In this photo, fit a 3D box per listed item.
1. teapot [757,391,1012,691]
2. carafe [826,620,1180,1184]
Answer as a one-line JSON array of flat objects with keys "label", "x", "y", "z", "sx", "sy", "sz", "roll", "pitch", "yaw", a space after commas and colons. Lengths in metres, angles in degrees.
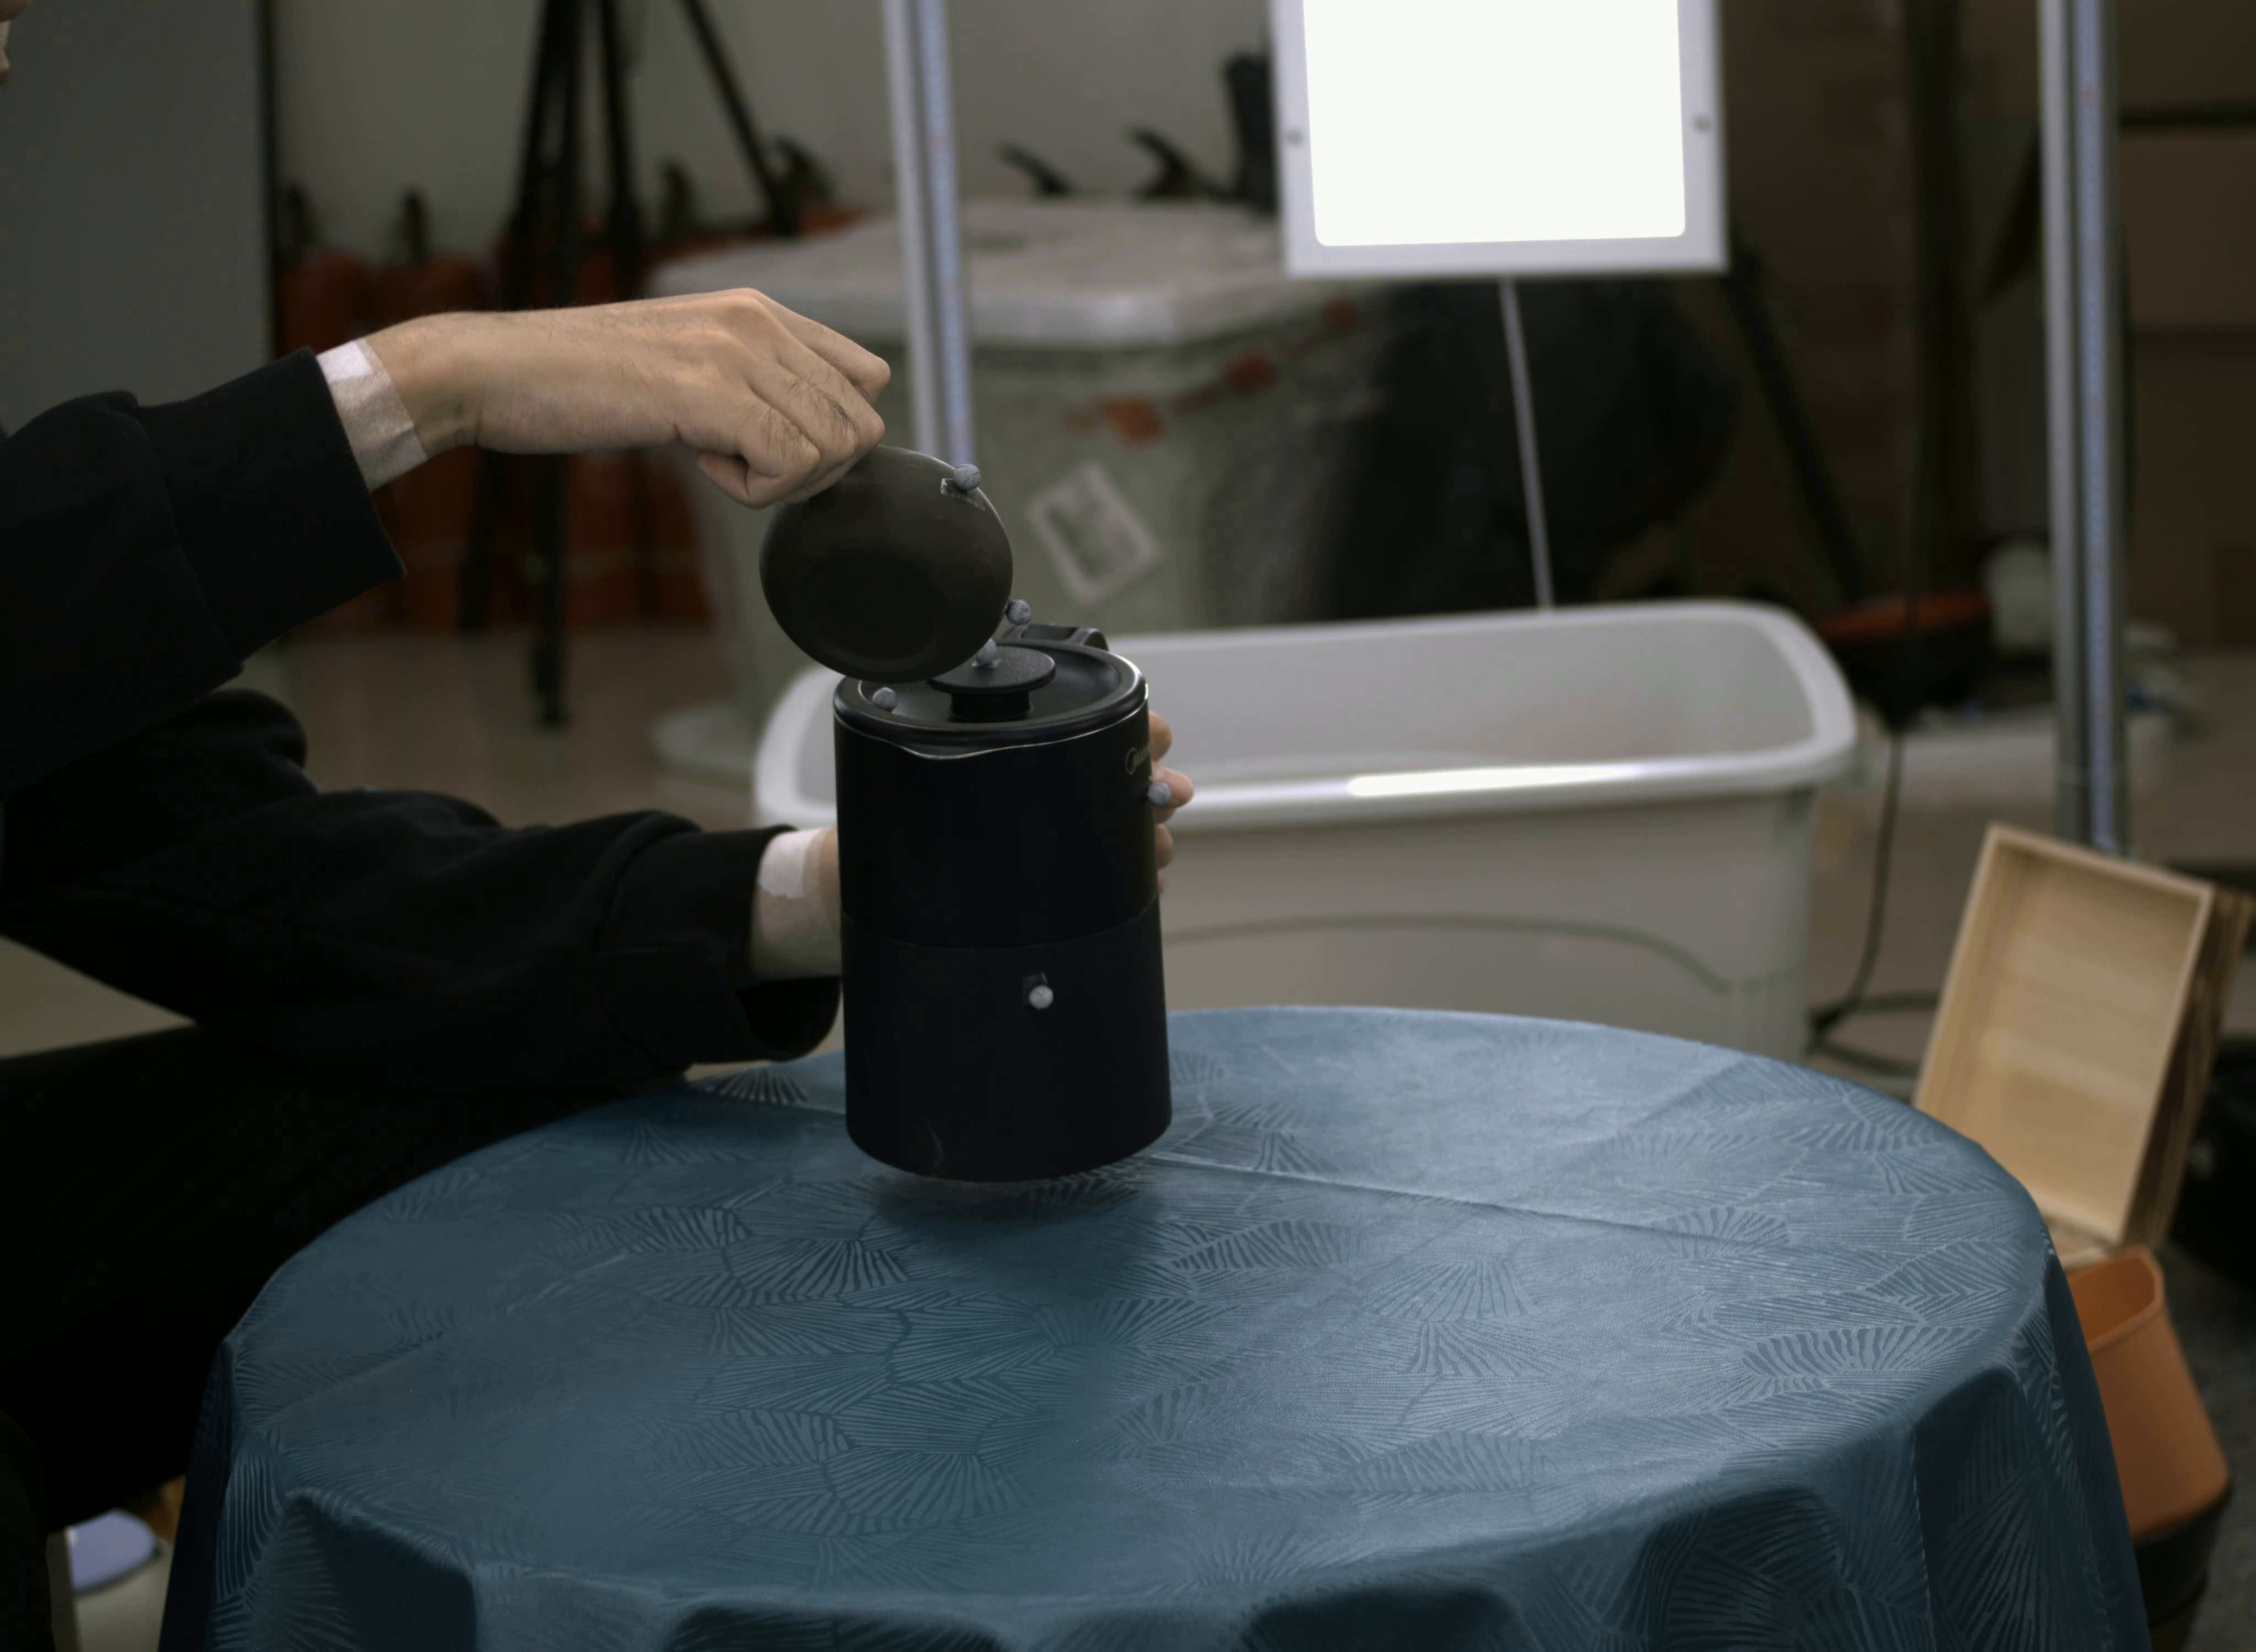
[{"label": "teapot", "x": -0.083, "y": -0.092, "z": 1.774, "sx": 0.084, "sy": 0.113, "sz": 0.052, "roll": -14, "pitch": 34, "yaw": 27}, {"label": "carafe", "x": -0.039, "y": 0.016, "z": 1.906, "sx": 0.116, "sy": 0.174, "sz": 0.169, "roll": 1, "pitch": 22, "yaw": 15}]
